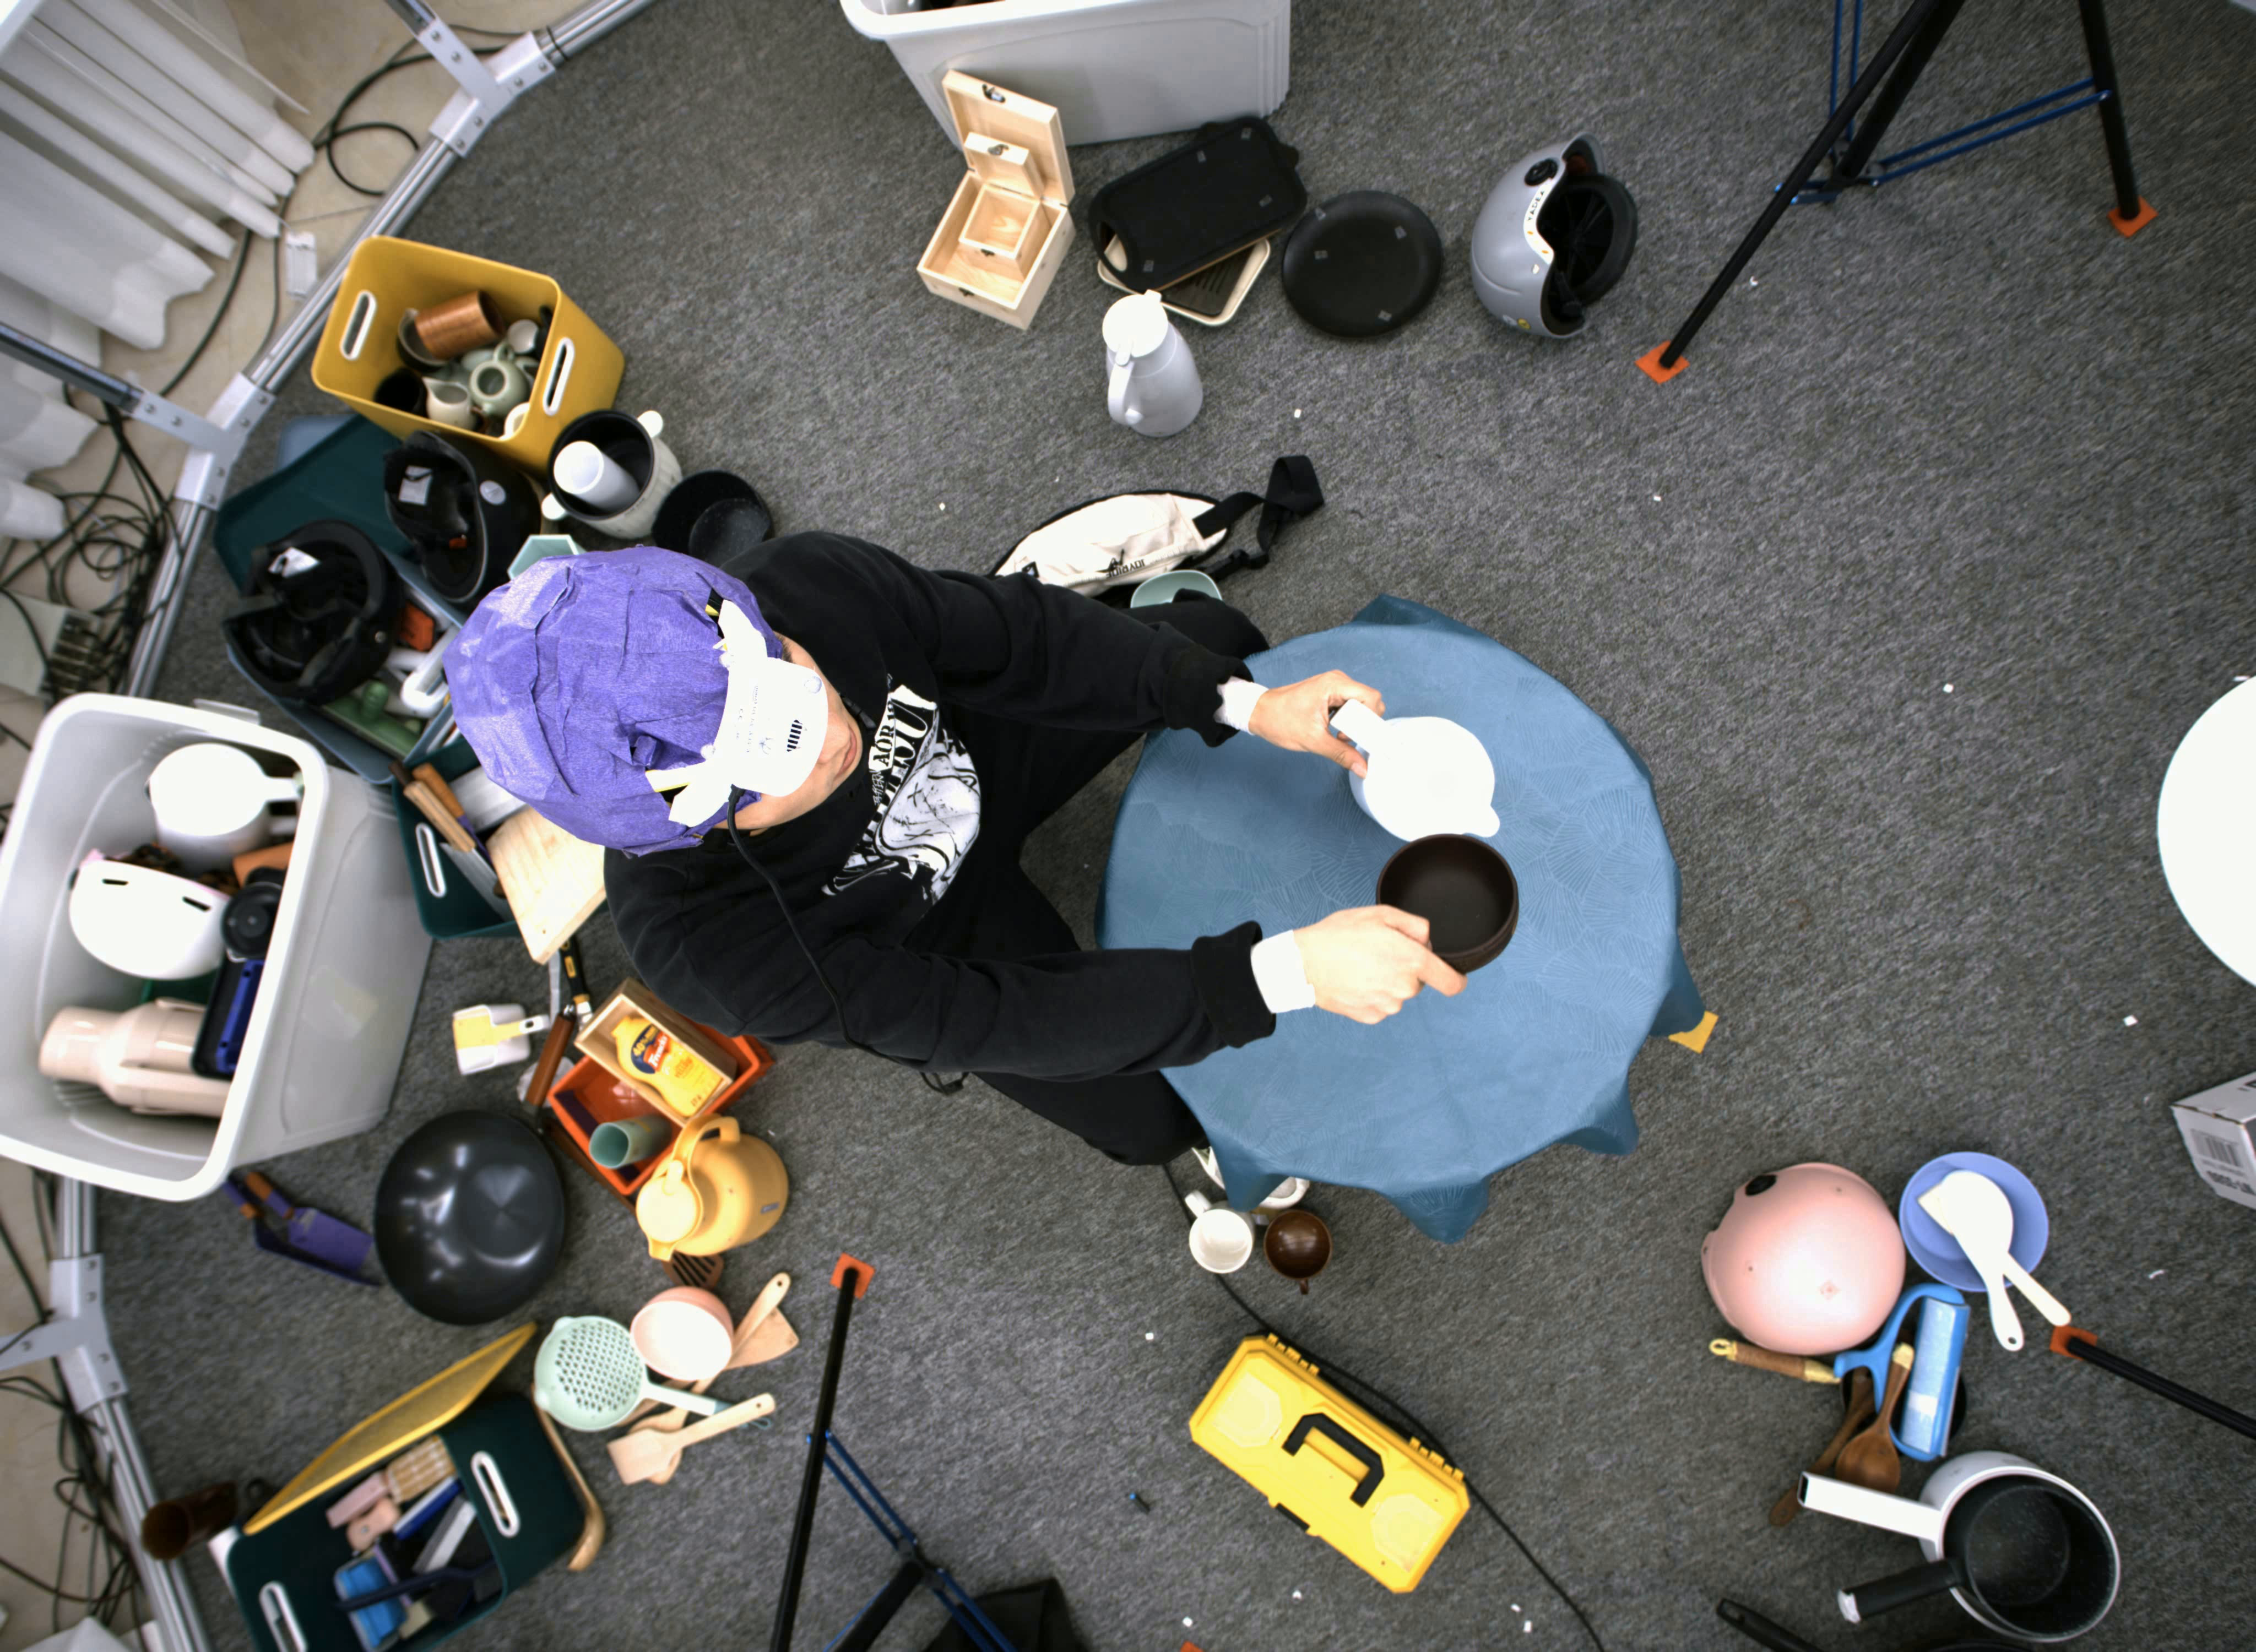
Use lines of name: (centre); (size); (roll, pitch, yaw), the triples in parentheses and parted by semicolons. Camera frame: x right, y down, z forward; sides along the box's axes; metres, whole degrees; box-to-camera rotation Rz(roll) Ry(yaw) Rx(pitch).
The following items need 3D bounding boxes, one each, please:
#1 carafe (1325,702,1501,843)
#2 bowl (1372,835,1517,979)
carafe: (0.265, -0.057, 1.323); (0.173, 0.266, 0.125); (37, 99, 1)
bowl: (0.265, 0.073, 1.152); (0.119, 0.071, 0.115); (-7, 61, 13)
